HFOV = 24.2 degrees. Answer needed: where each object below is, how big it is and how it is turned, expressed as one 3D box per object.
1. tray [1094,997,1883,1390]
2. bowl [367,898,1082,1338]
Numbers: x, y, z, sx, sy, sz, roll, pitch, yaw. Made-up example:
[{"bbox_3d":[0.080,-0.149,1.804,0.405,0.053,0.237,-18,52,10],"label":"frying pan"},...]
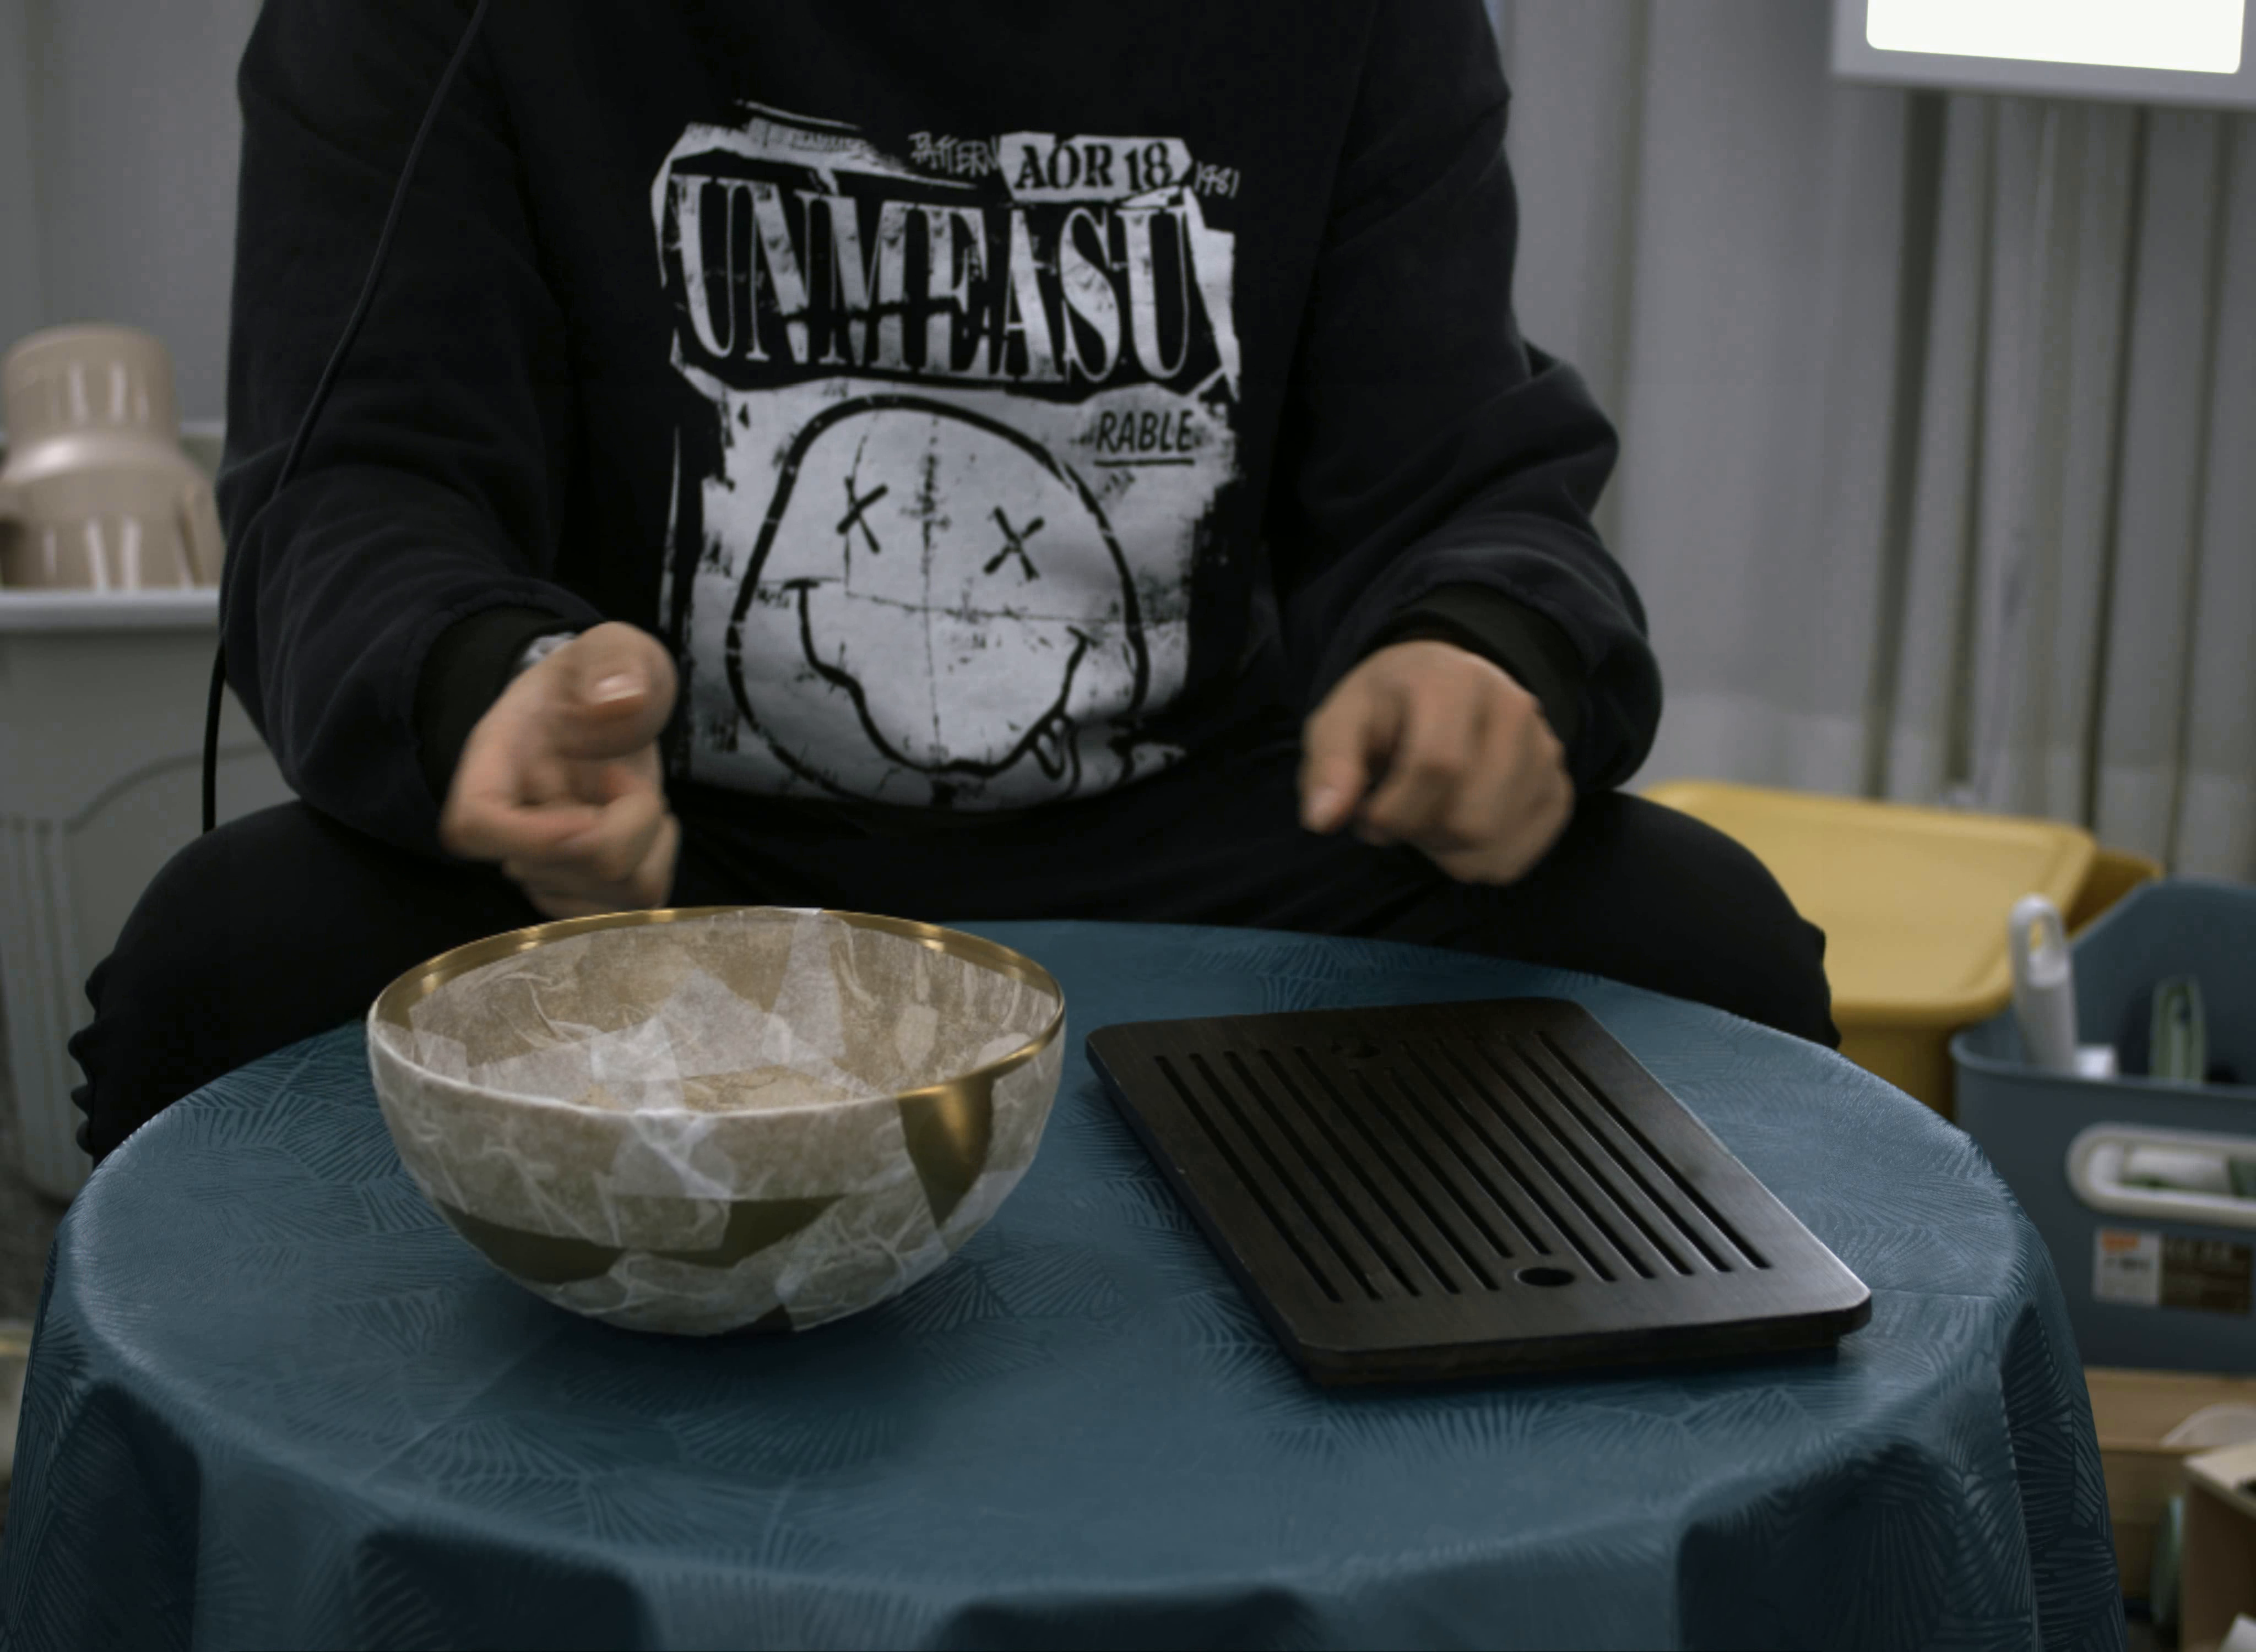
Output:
[{"bbox_3d":[0.102,0.109,1.612,0.170,0.019,0.303,-3,16,-12],"label":"tray"},{"bbox_3d":[-0.114,0.092,1.523,0.214,0.095,0.213,0,16,1],"label":"bowl"}]
